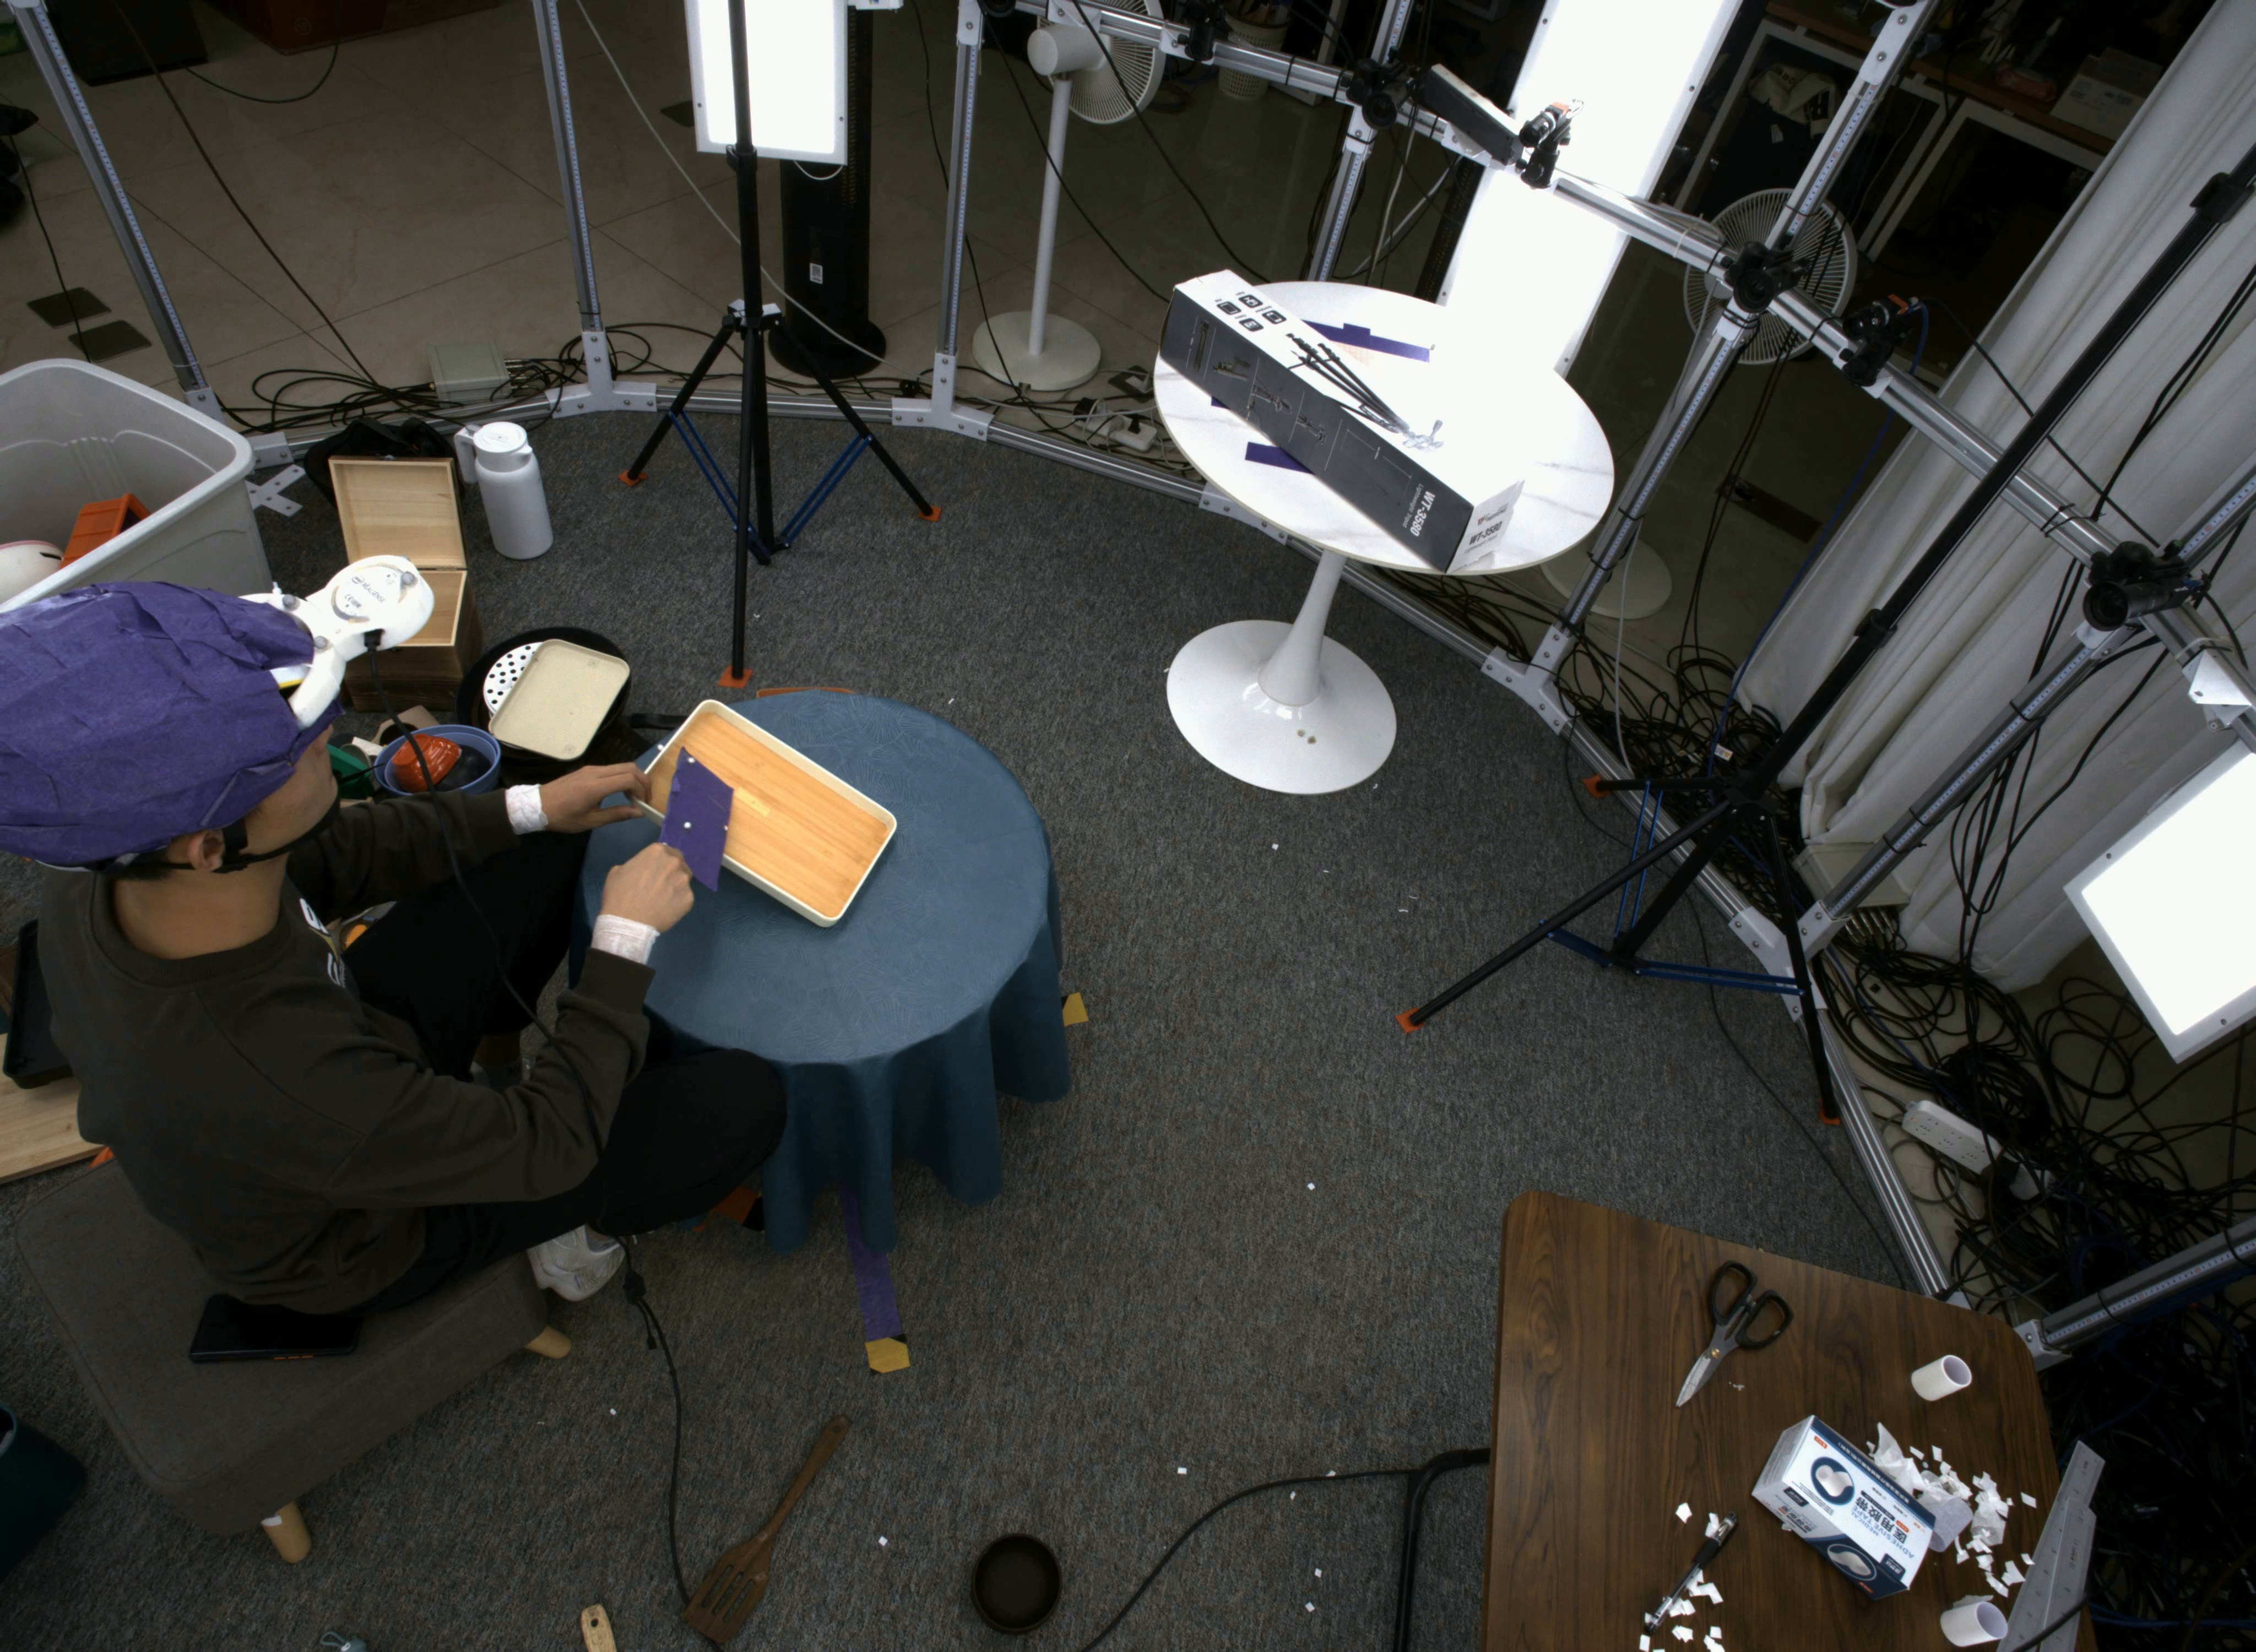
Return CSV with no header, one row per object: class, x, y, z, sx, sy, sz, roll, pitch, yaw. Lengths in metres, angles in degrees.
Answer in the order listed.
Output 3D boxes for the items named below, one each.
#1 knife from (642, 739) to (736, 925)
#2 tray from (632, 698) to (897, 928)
knife,-0.508,0.015,1.513,0.107,0.032,0.307,45,22,-35
tray,-0.462,-0.019,1.660,0.304,0.027,0.190,34,51,-13
